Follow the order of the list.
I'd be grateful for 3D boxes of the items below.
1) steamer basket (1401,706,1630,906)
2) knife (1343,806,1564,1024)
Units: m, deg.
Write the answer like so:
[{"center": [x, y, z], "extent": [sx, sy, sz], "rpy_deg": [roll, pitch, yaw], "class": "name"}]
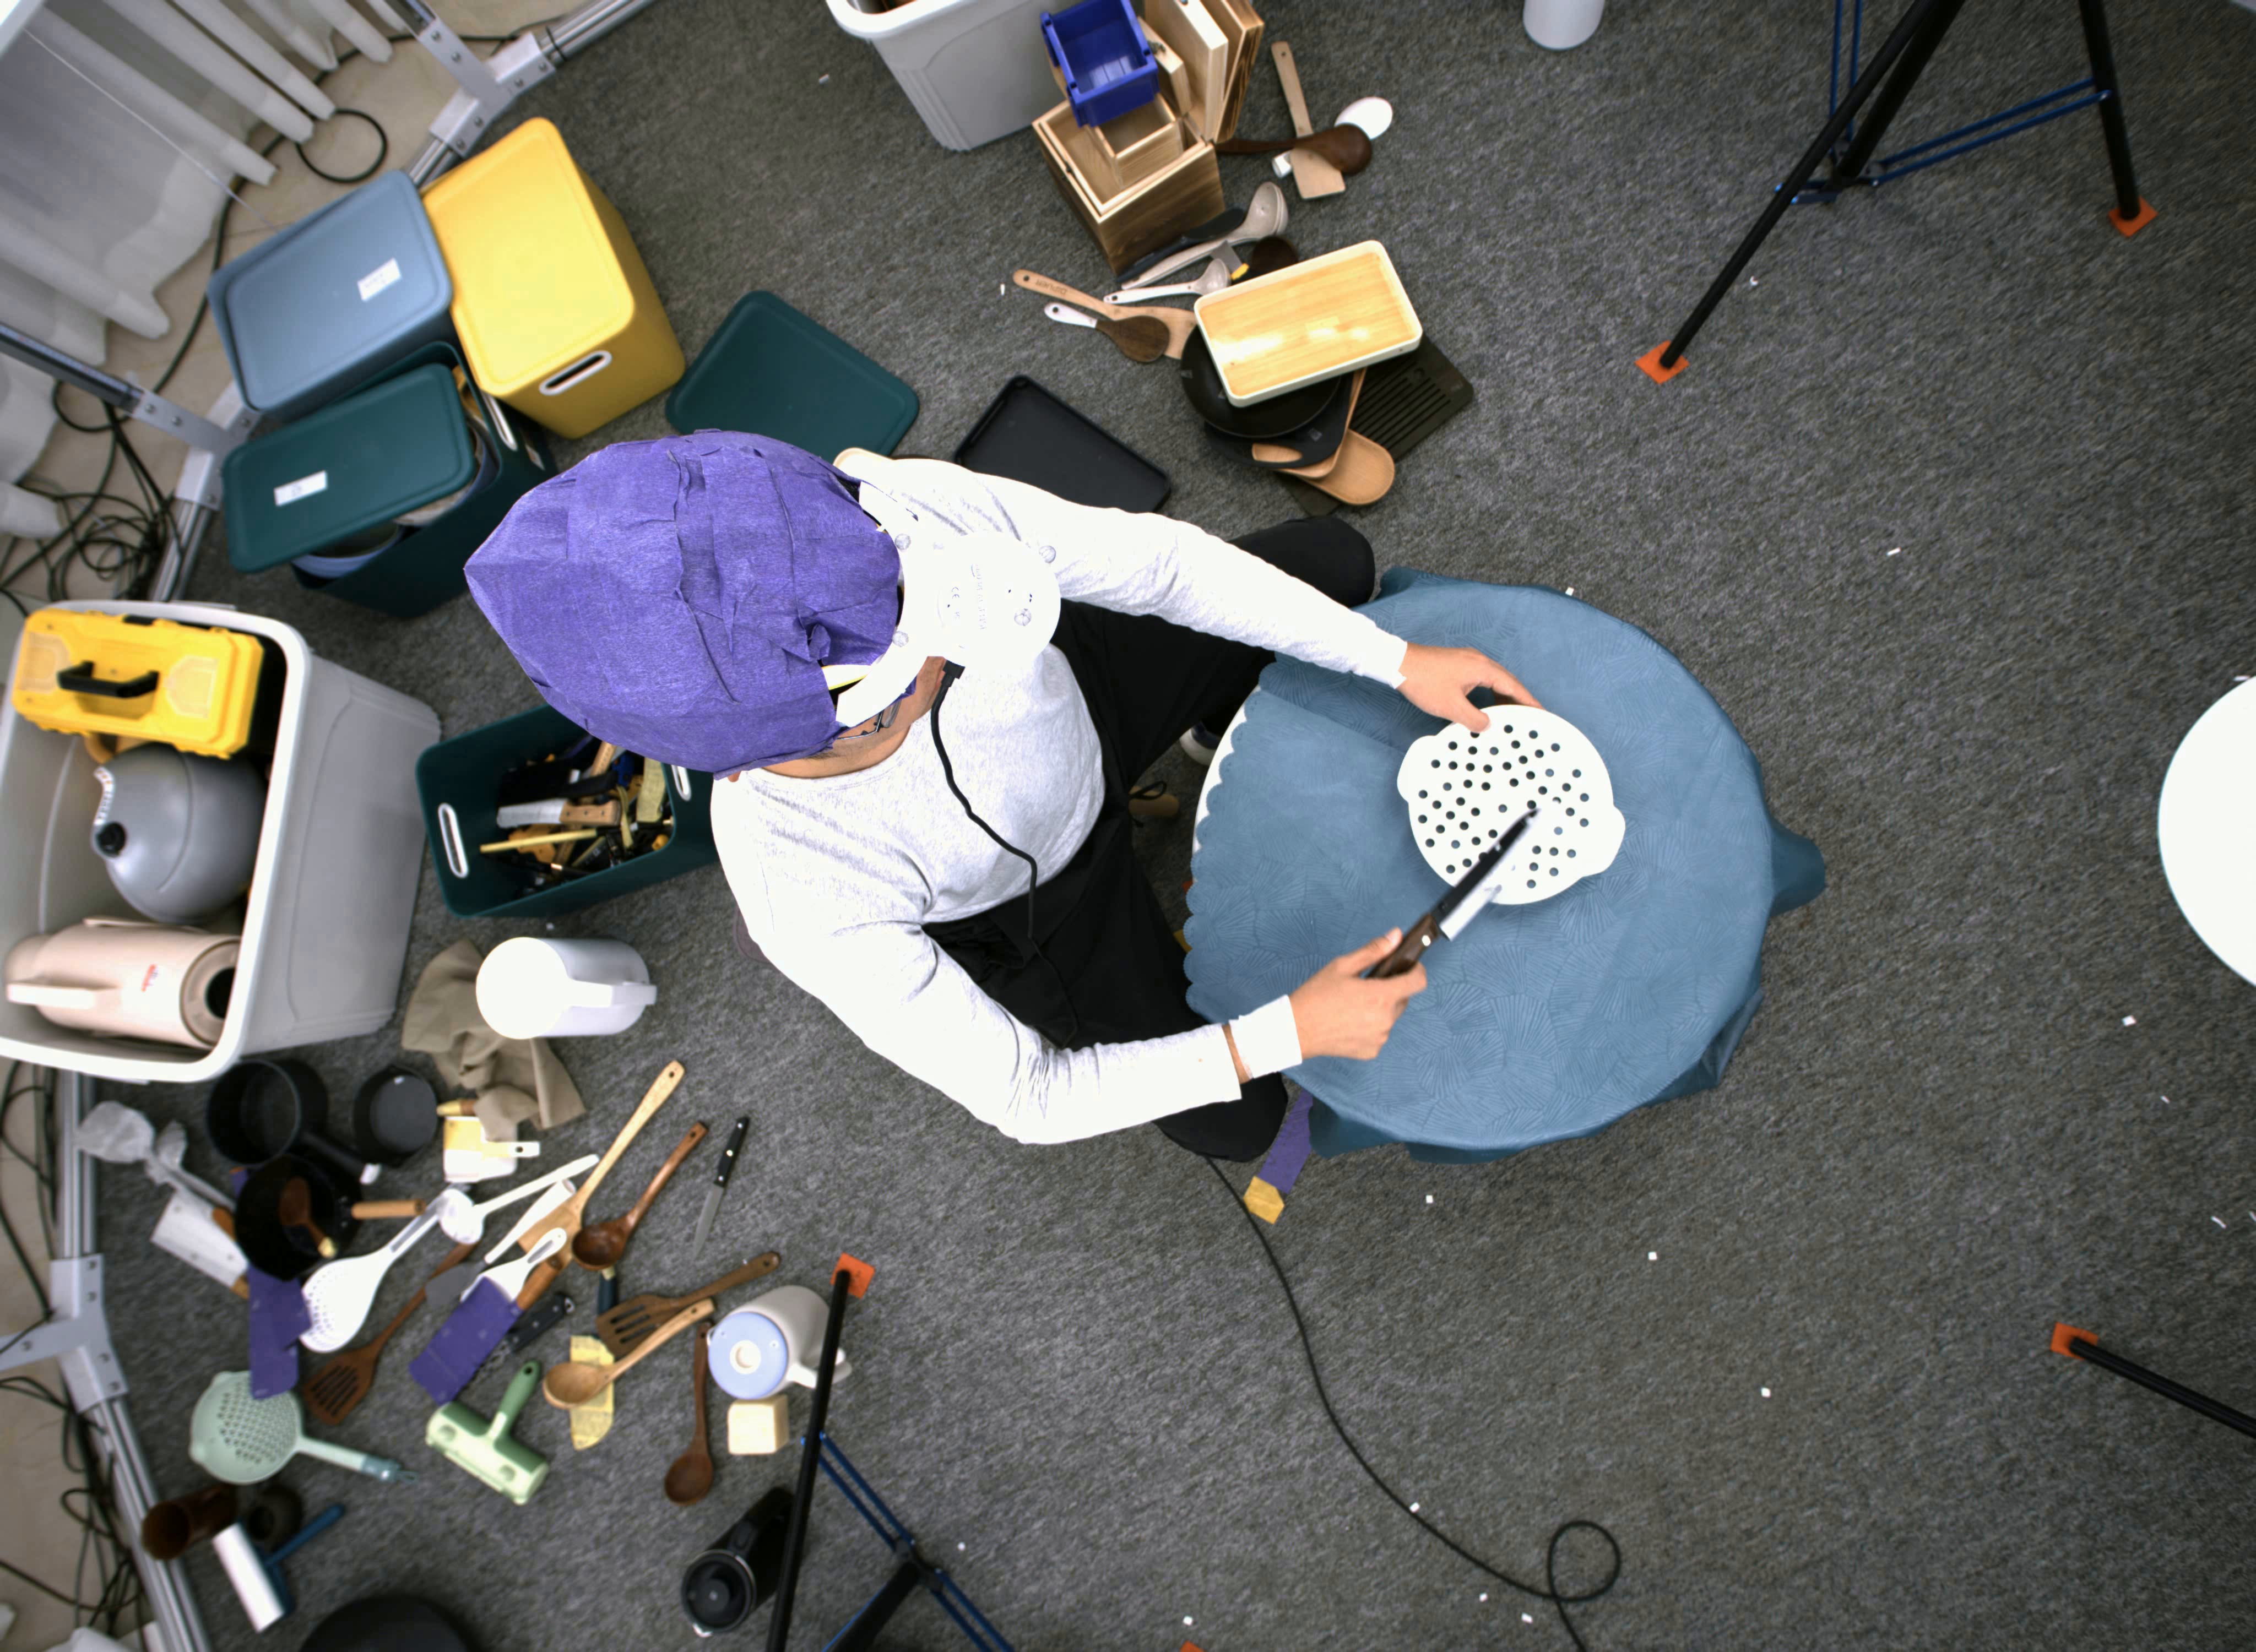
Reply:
[{"center": [0.392, -0.021, 1.405], "extent": [0.230, 0.069, 0.202], "rpy_deg": [23, 92, 9], "class": "steamer basket"}, {"center": [0.310, 0.081, 1.302], "extent": [0.290, 0.051, 0.020], "rpy_deg": [-45, 36, 3], "class": "knife"}]
